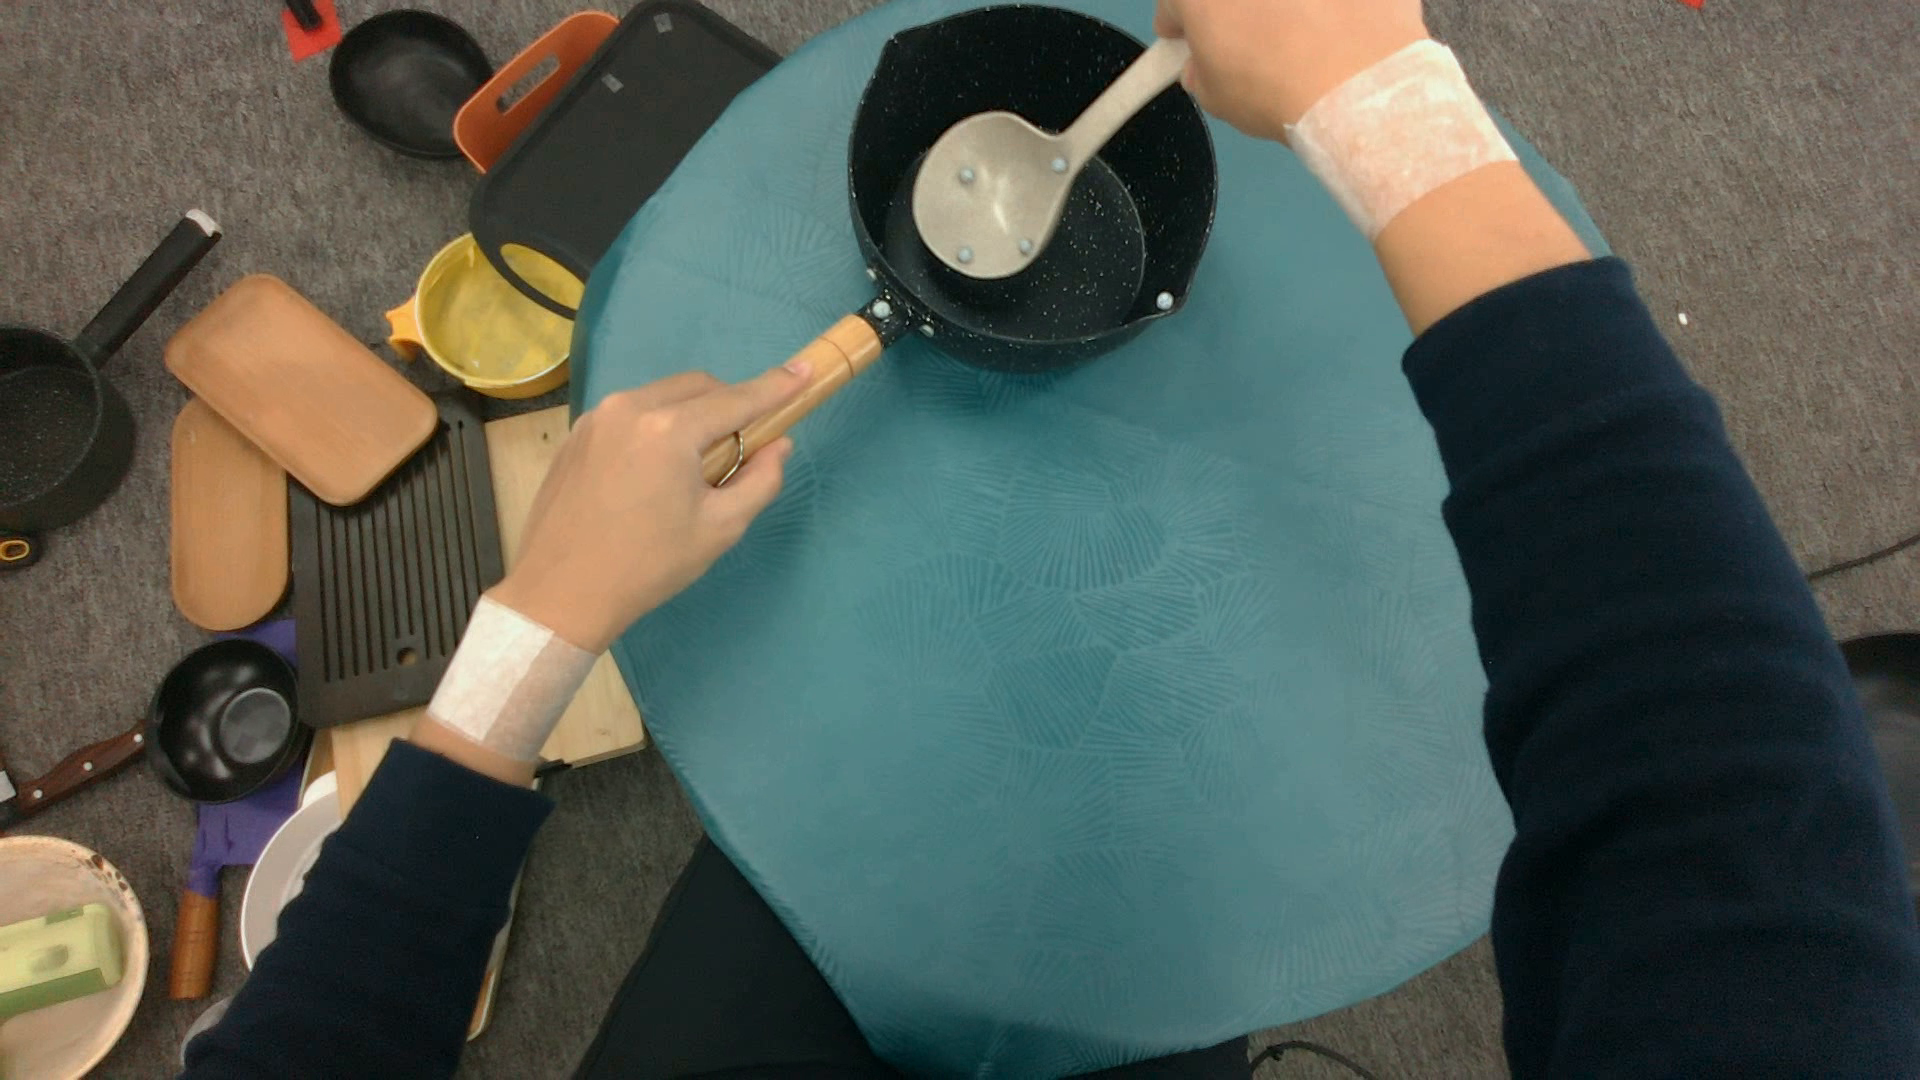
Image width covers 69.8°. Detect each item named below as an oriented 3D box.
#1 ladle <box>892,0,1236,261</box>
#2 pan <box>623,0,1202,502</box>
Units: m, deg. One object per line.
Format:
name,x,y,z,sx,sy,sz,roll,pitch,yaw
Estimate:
ladle,0.047,-0.208,0.620,0.069,0.274,0.089,1,79,-23
pan,-0.028,-0.127,0.687,0.207,0.108,0.344,43,74,4
